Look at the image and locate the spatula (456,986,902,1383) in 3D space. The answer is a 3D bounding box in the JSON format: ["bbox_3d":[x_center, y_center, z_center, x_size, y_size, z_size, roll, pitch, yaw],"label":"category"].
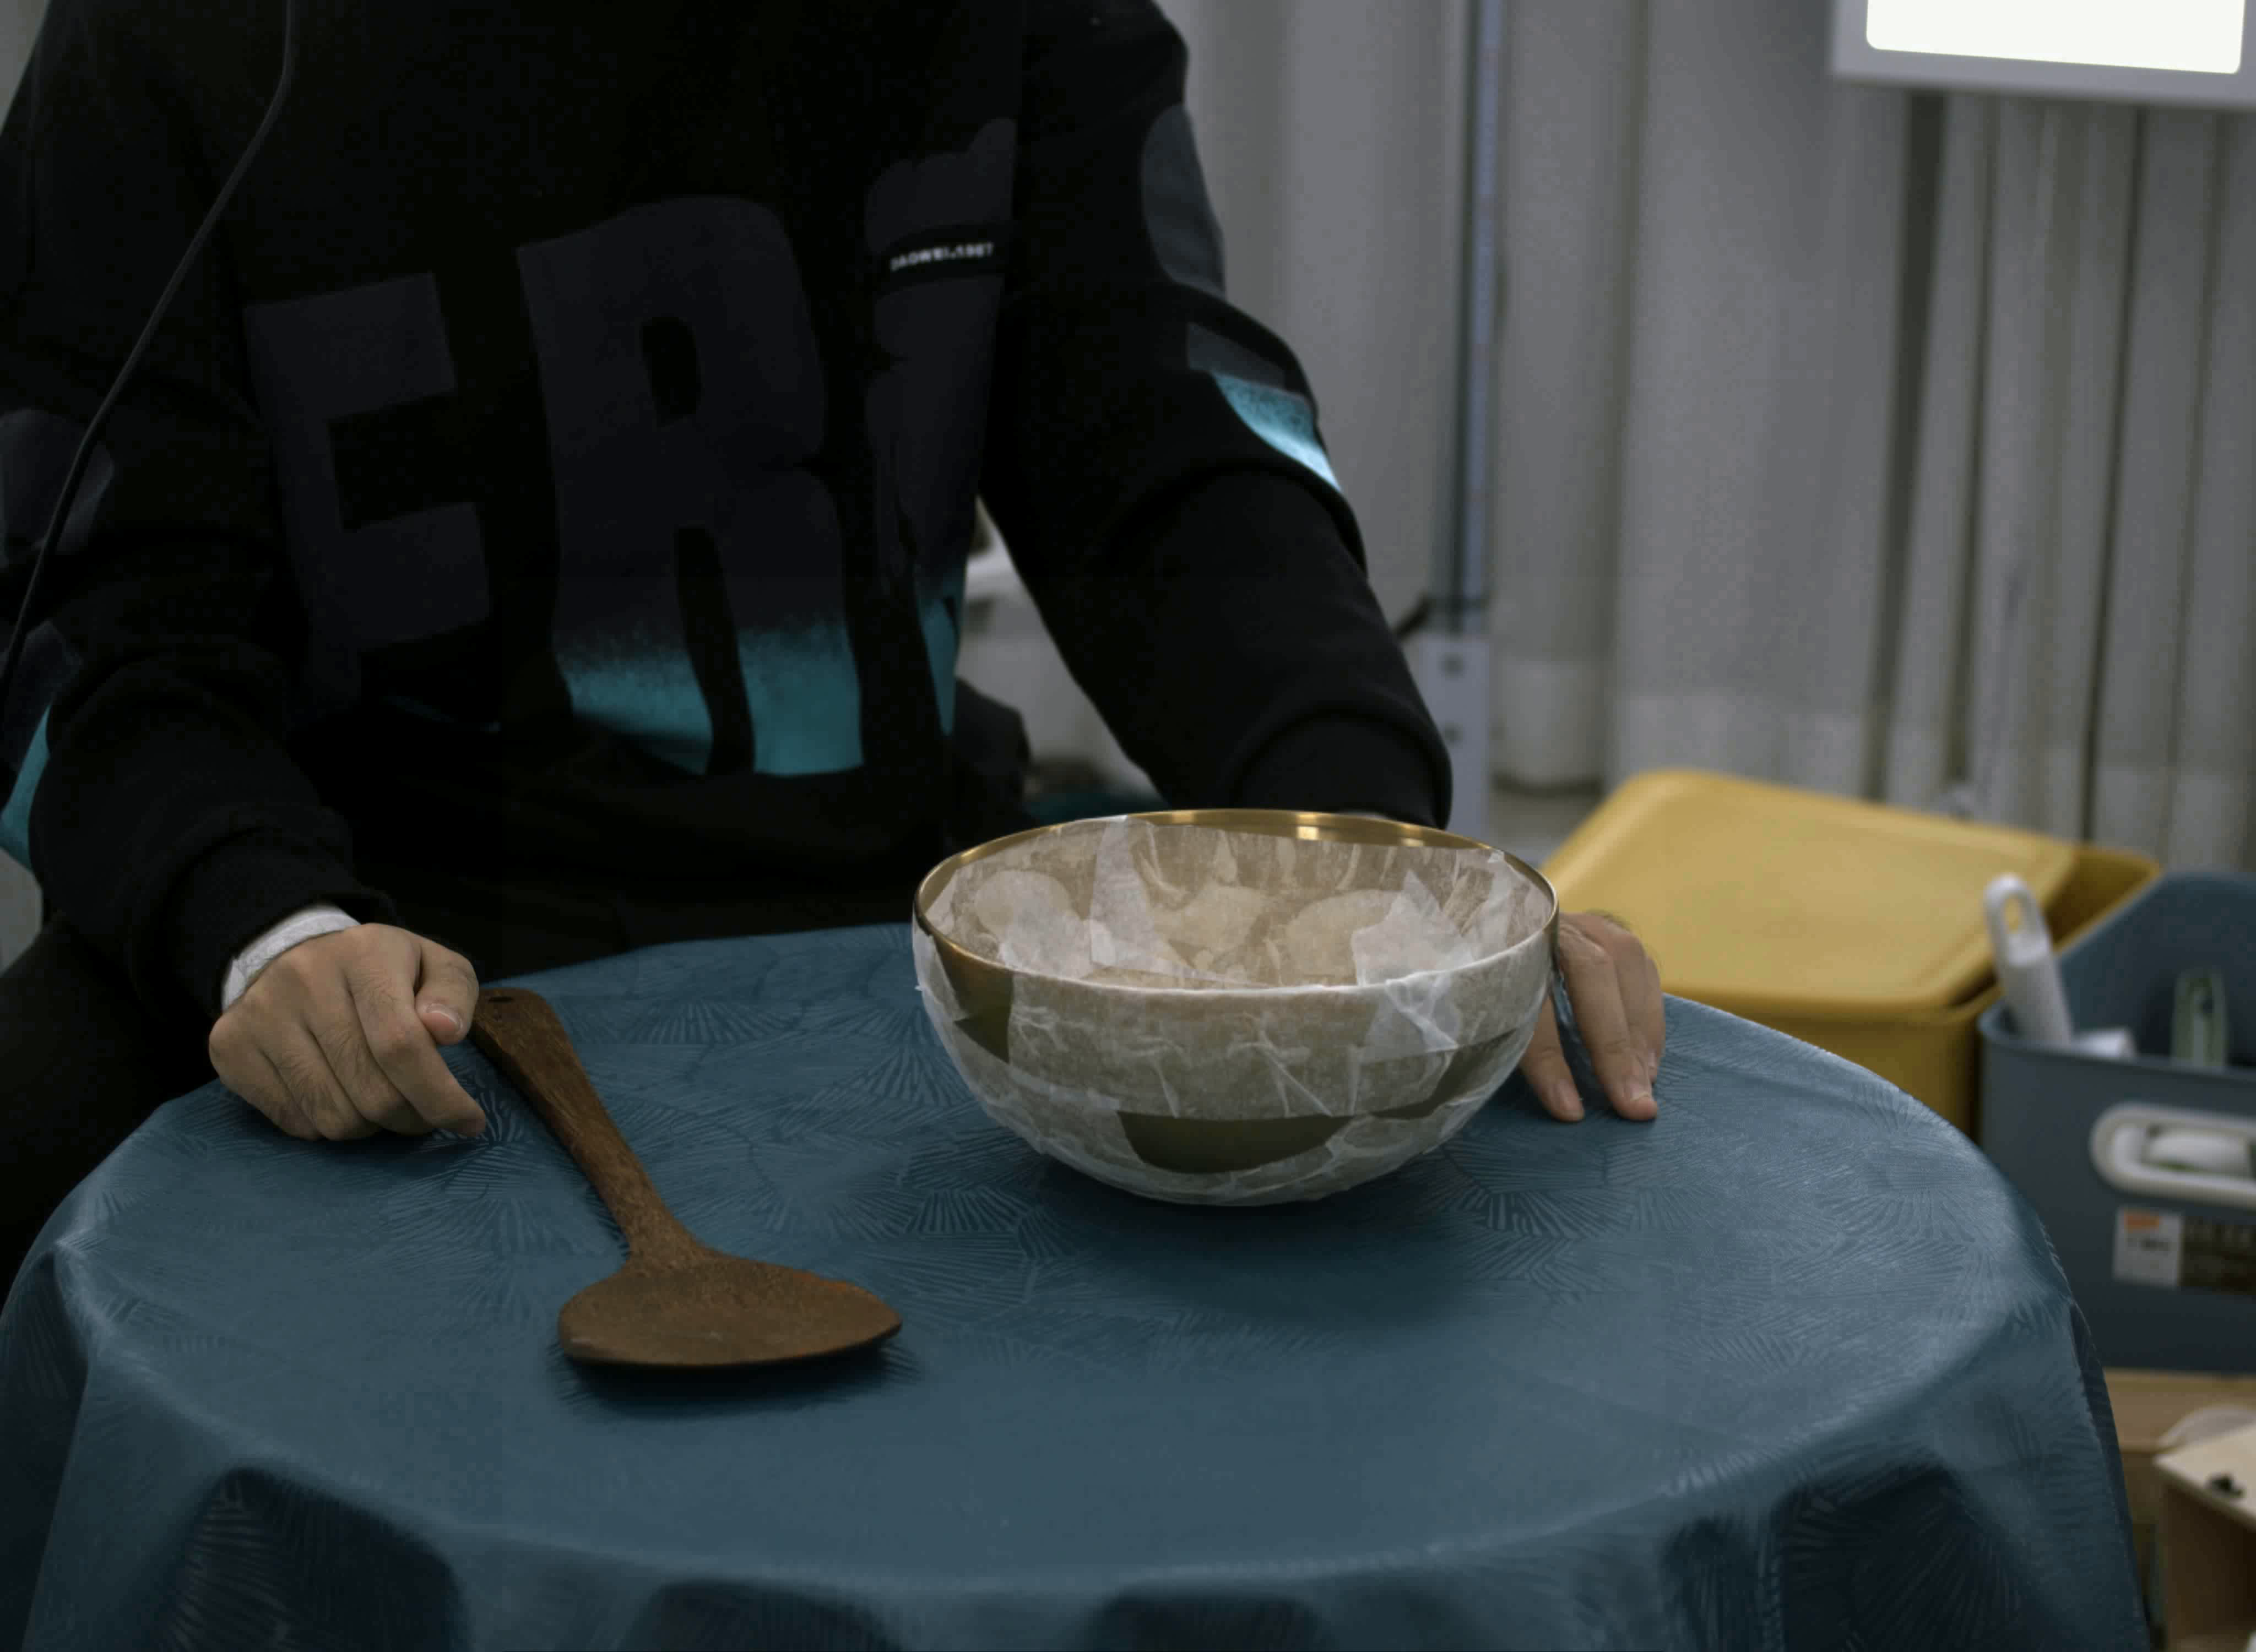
[{"bbox_3d":[-0.160,0.104,1.625,0.096,0.016,0.382,-4,16,-18],"label":"spatula"}]

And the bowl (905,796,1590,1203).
[{"bbox_3d":[0.036,0.062,1.633,0.214,0.095,0.213,-1,16,1],"label":"bowl"}]
